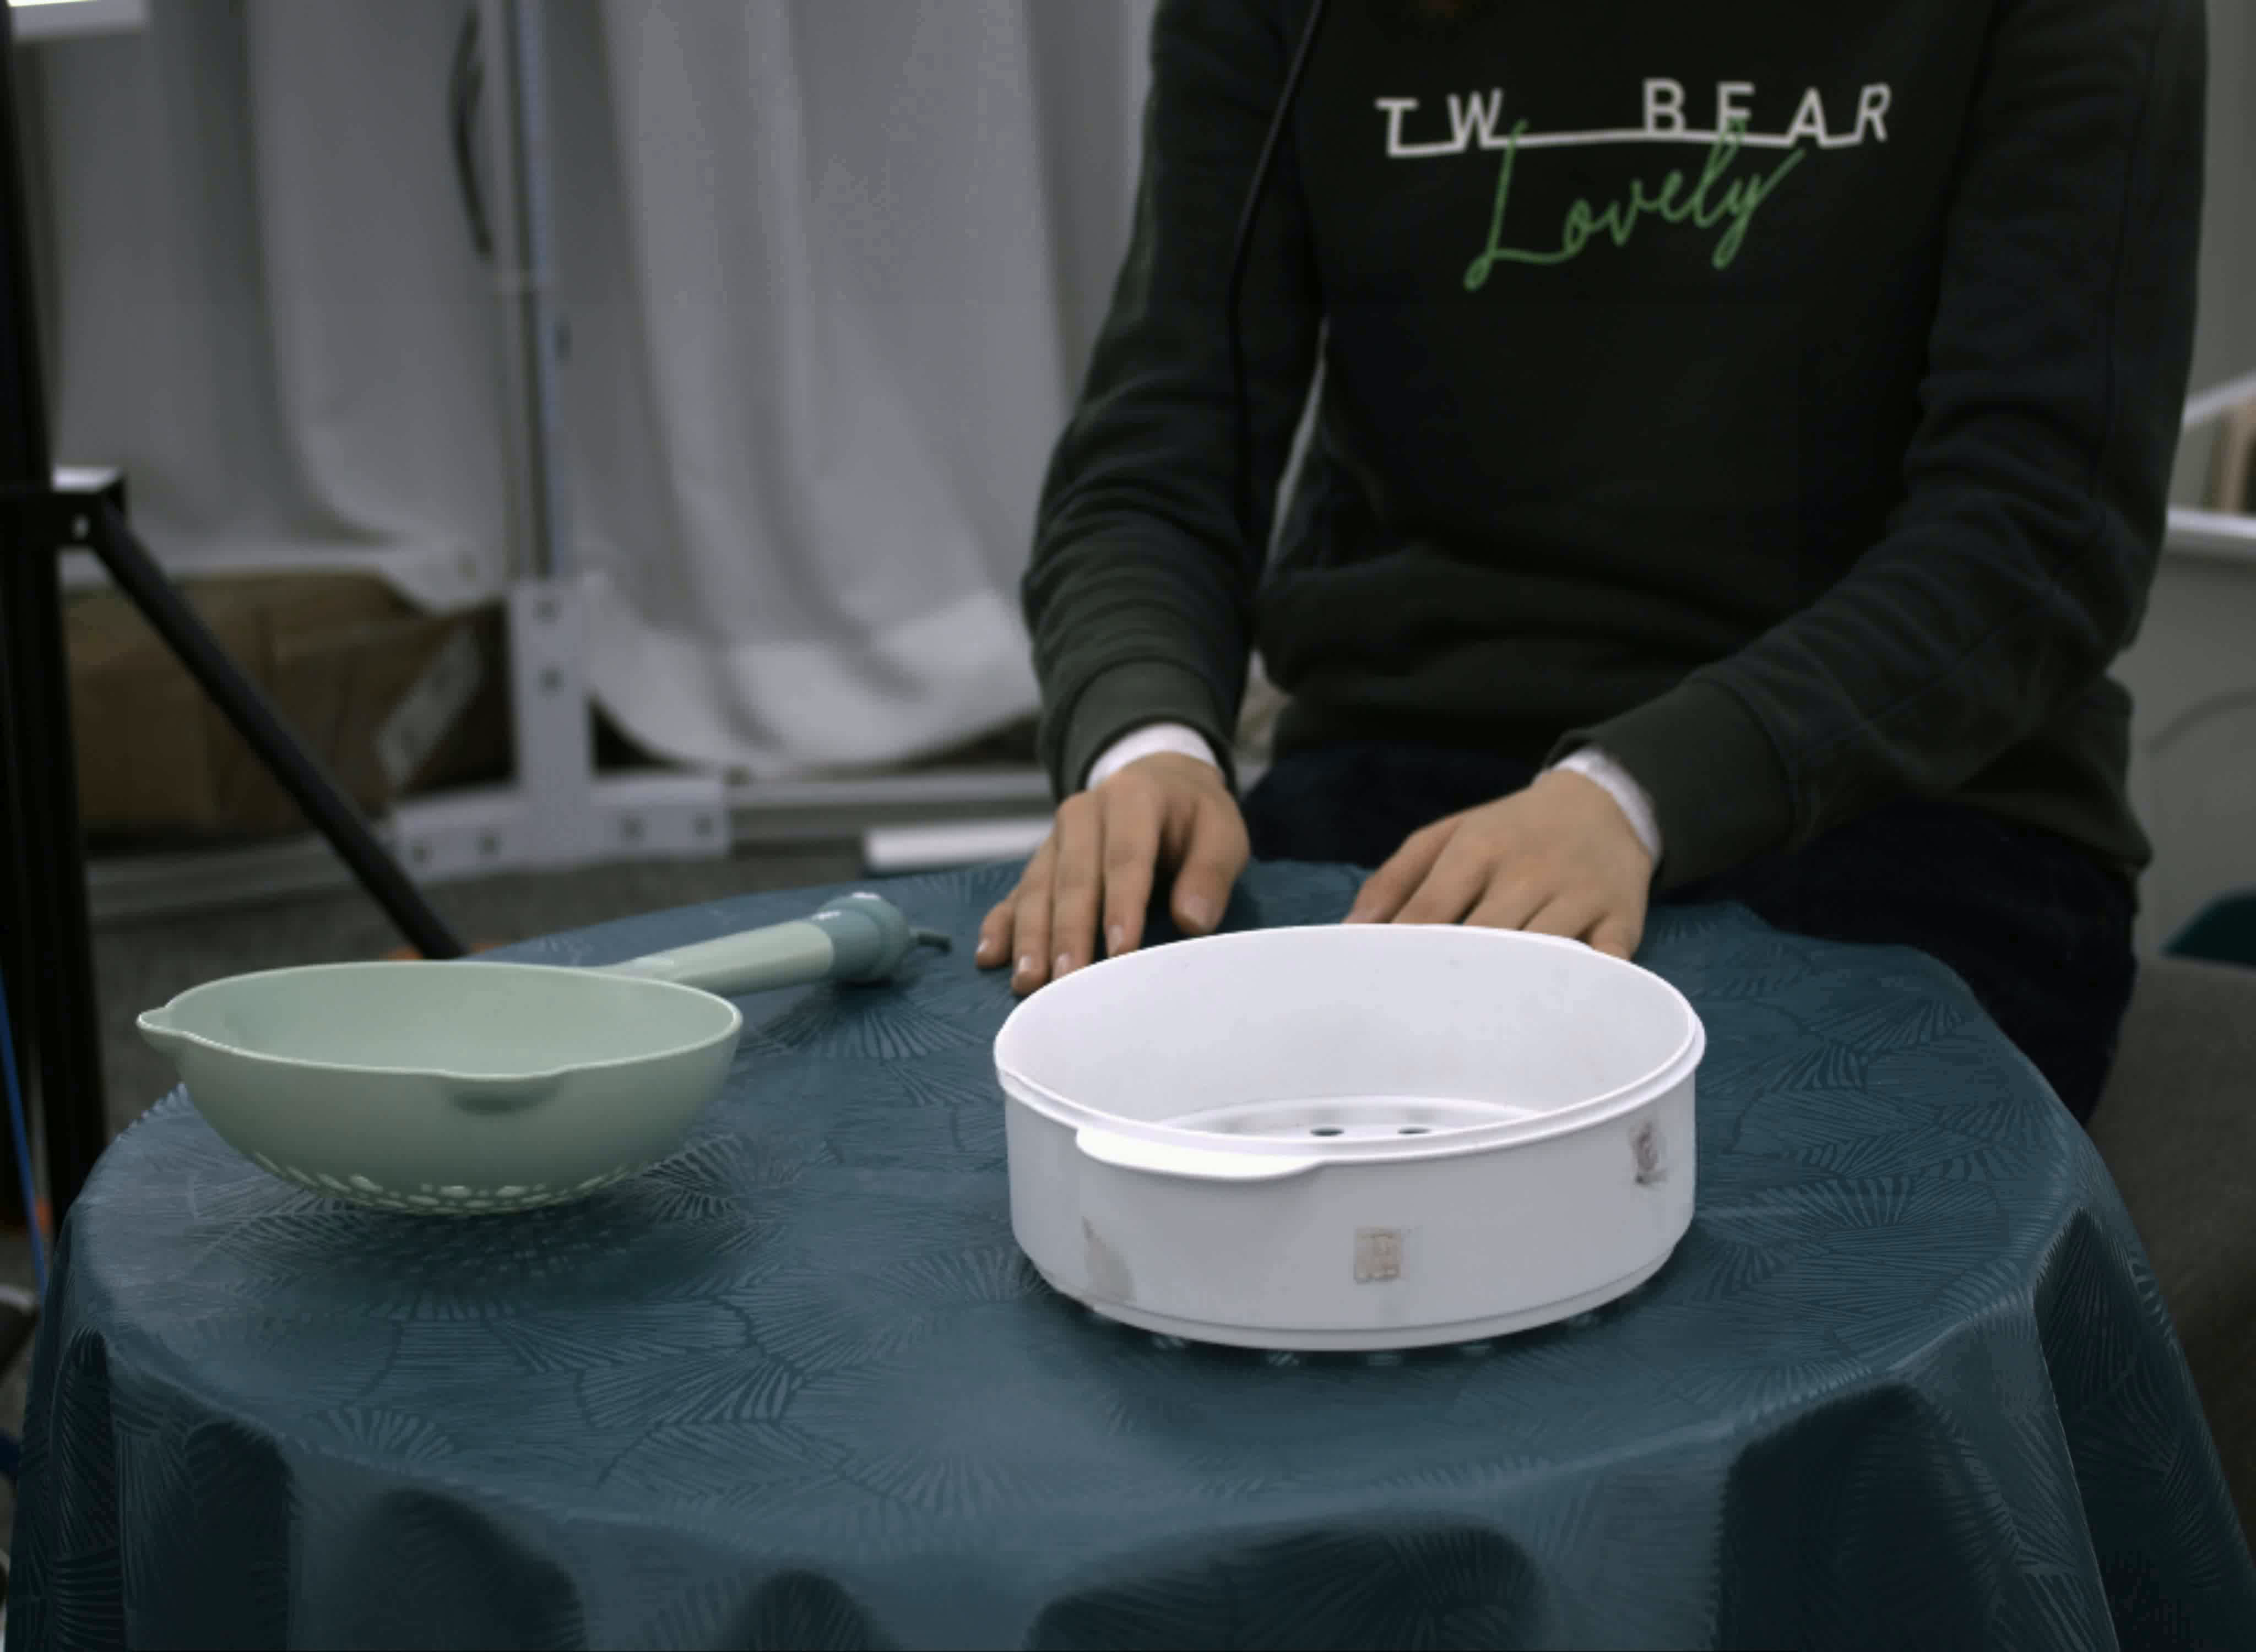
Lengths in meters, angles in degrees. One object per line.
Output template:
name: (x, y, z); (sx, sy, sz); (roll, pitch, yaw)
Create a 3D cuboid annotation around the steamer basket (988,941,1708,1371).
steamer basket: (0.061, 0.093, 1.490); (0.205, 0.069, 0.227); (7, 17, 26)

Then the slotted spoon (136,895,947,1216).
slotted spoon: (-0.152, 0.055, 1.651); (0.172, 0.075, 0.353); (7, 18, 28)
